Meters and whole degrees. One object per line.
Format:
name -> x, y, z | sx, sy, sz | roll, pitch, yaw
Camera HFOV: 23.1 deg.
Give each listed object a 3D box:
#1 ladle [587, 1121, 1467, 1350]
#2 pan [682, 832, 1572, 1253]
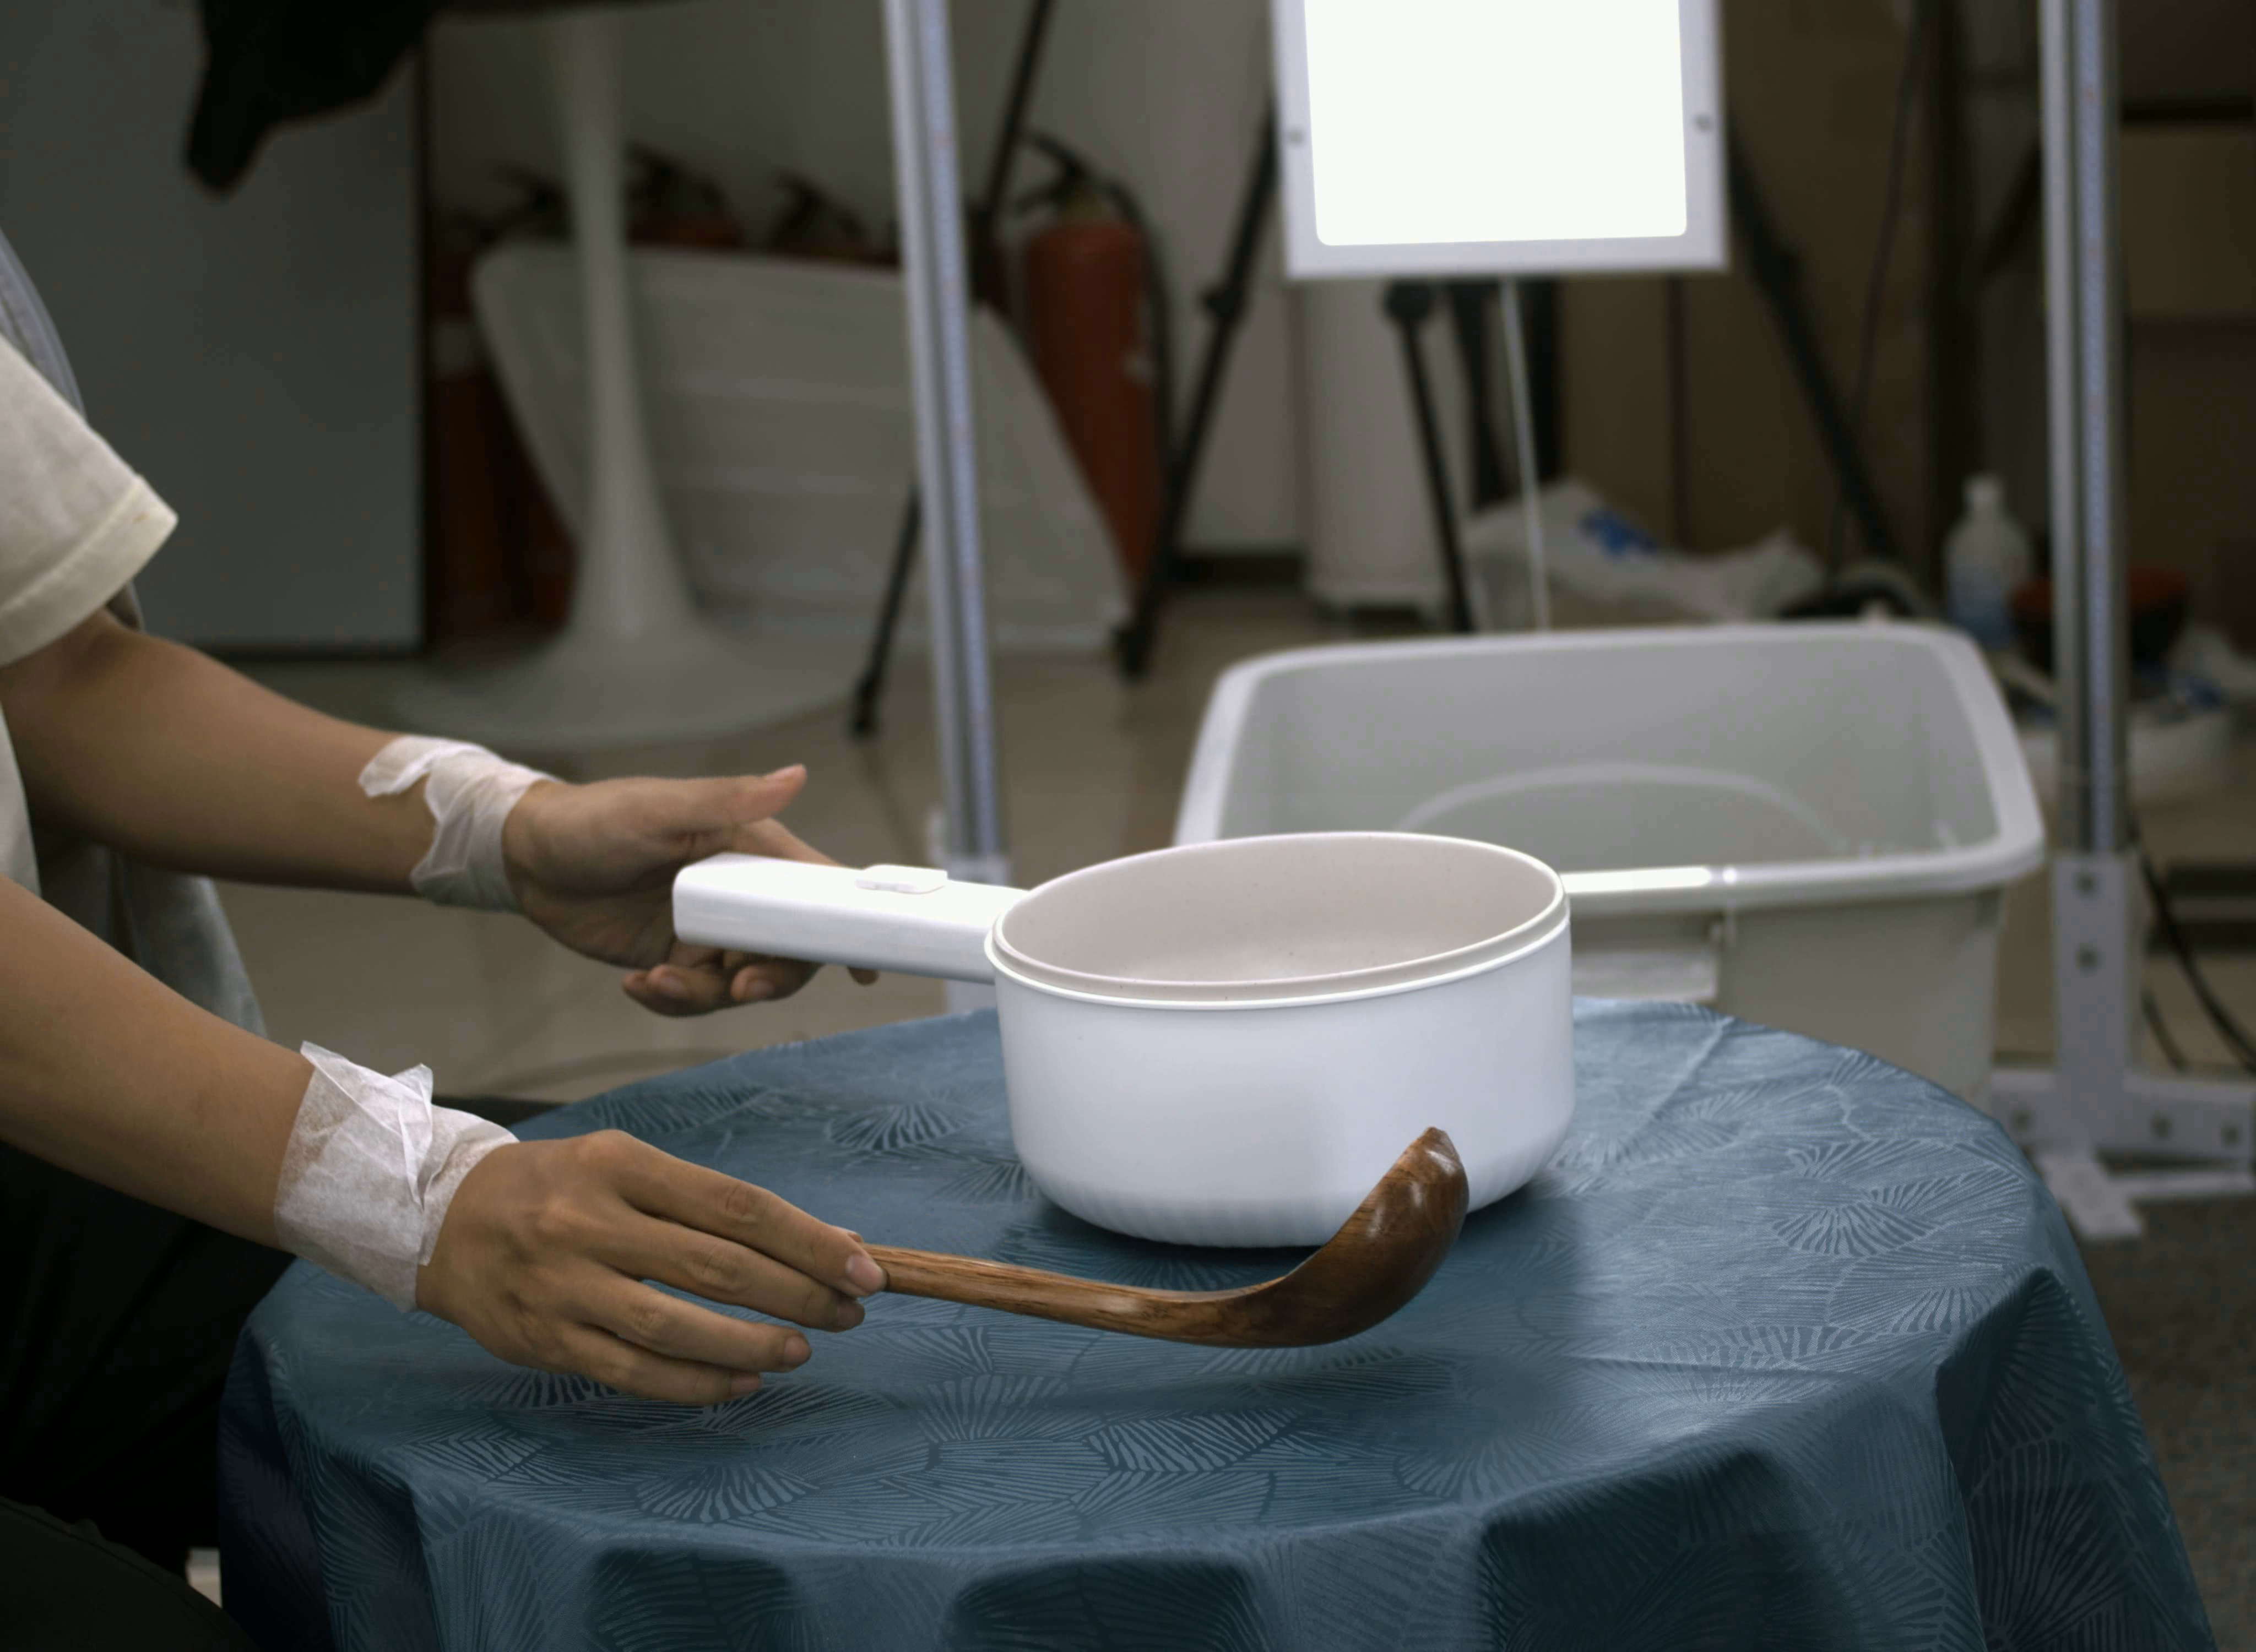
ladle -> -0.032, 0.115, 1.702 | 0.276, 0.077, 0.081 | 6, -4, 13
pan -> -0.008, 0.070, 1.922 | 0.362, 0.102, 0.196 | 5, 17, 37
